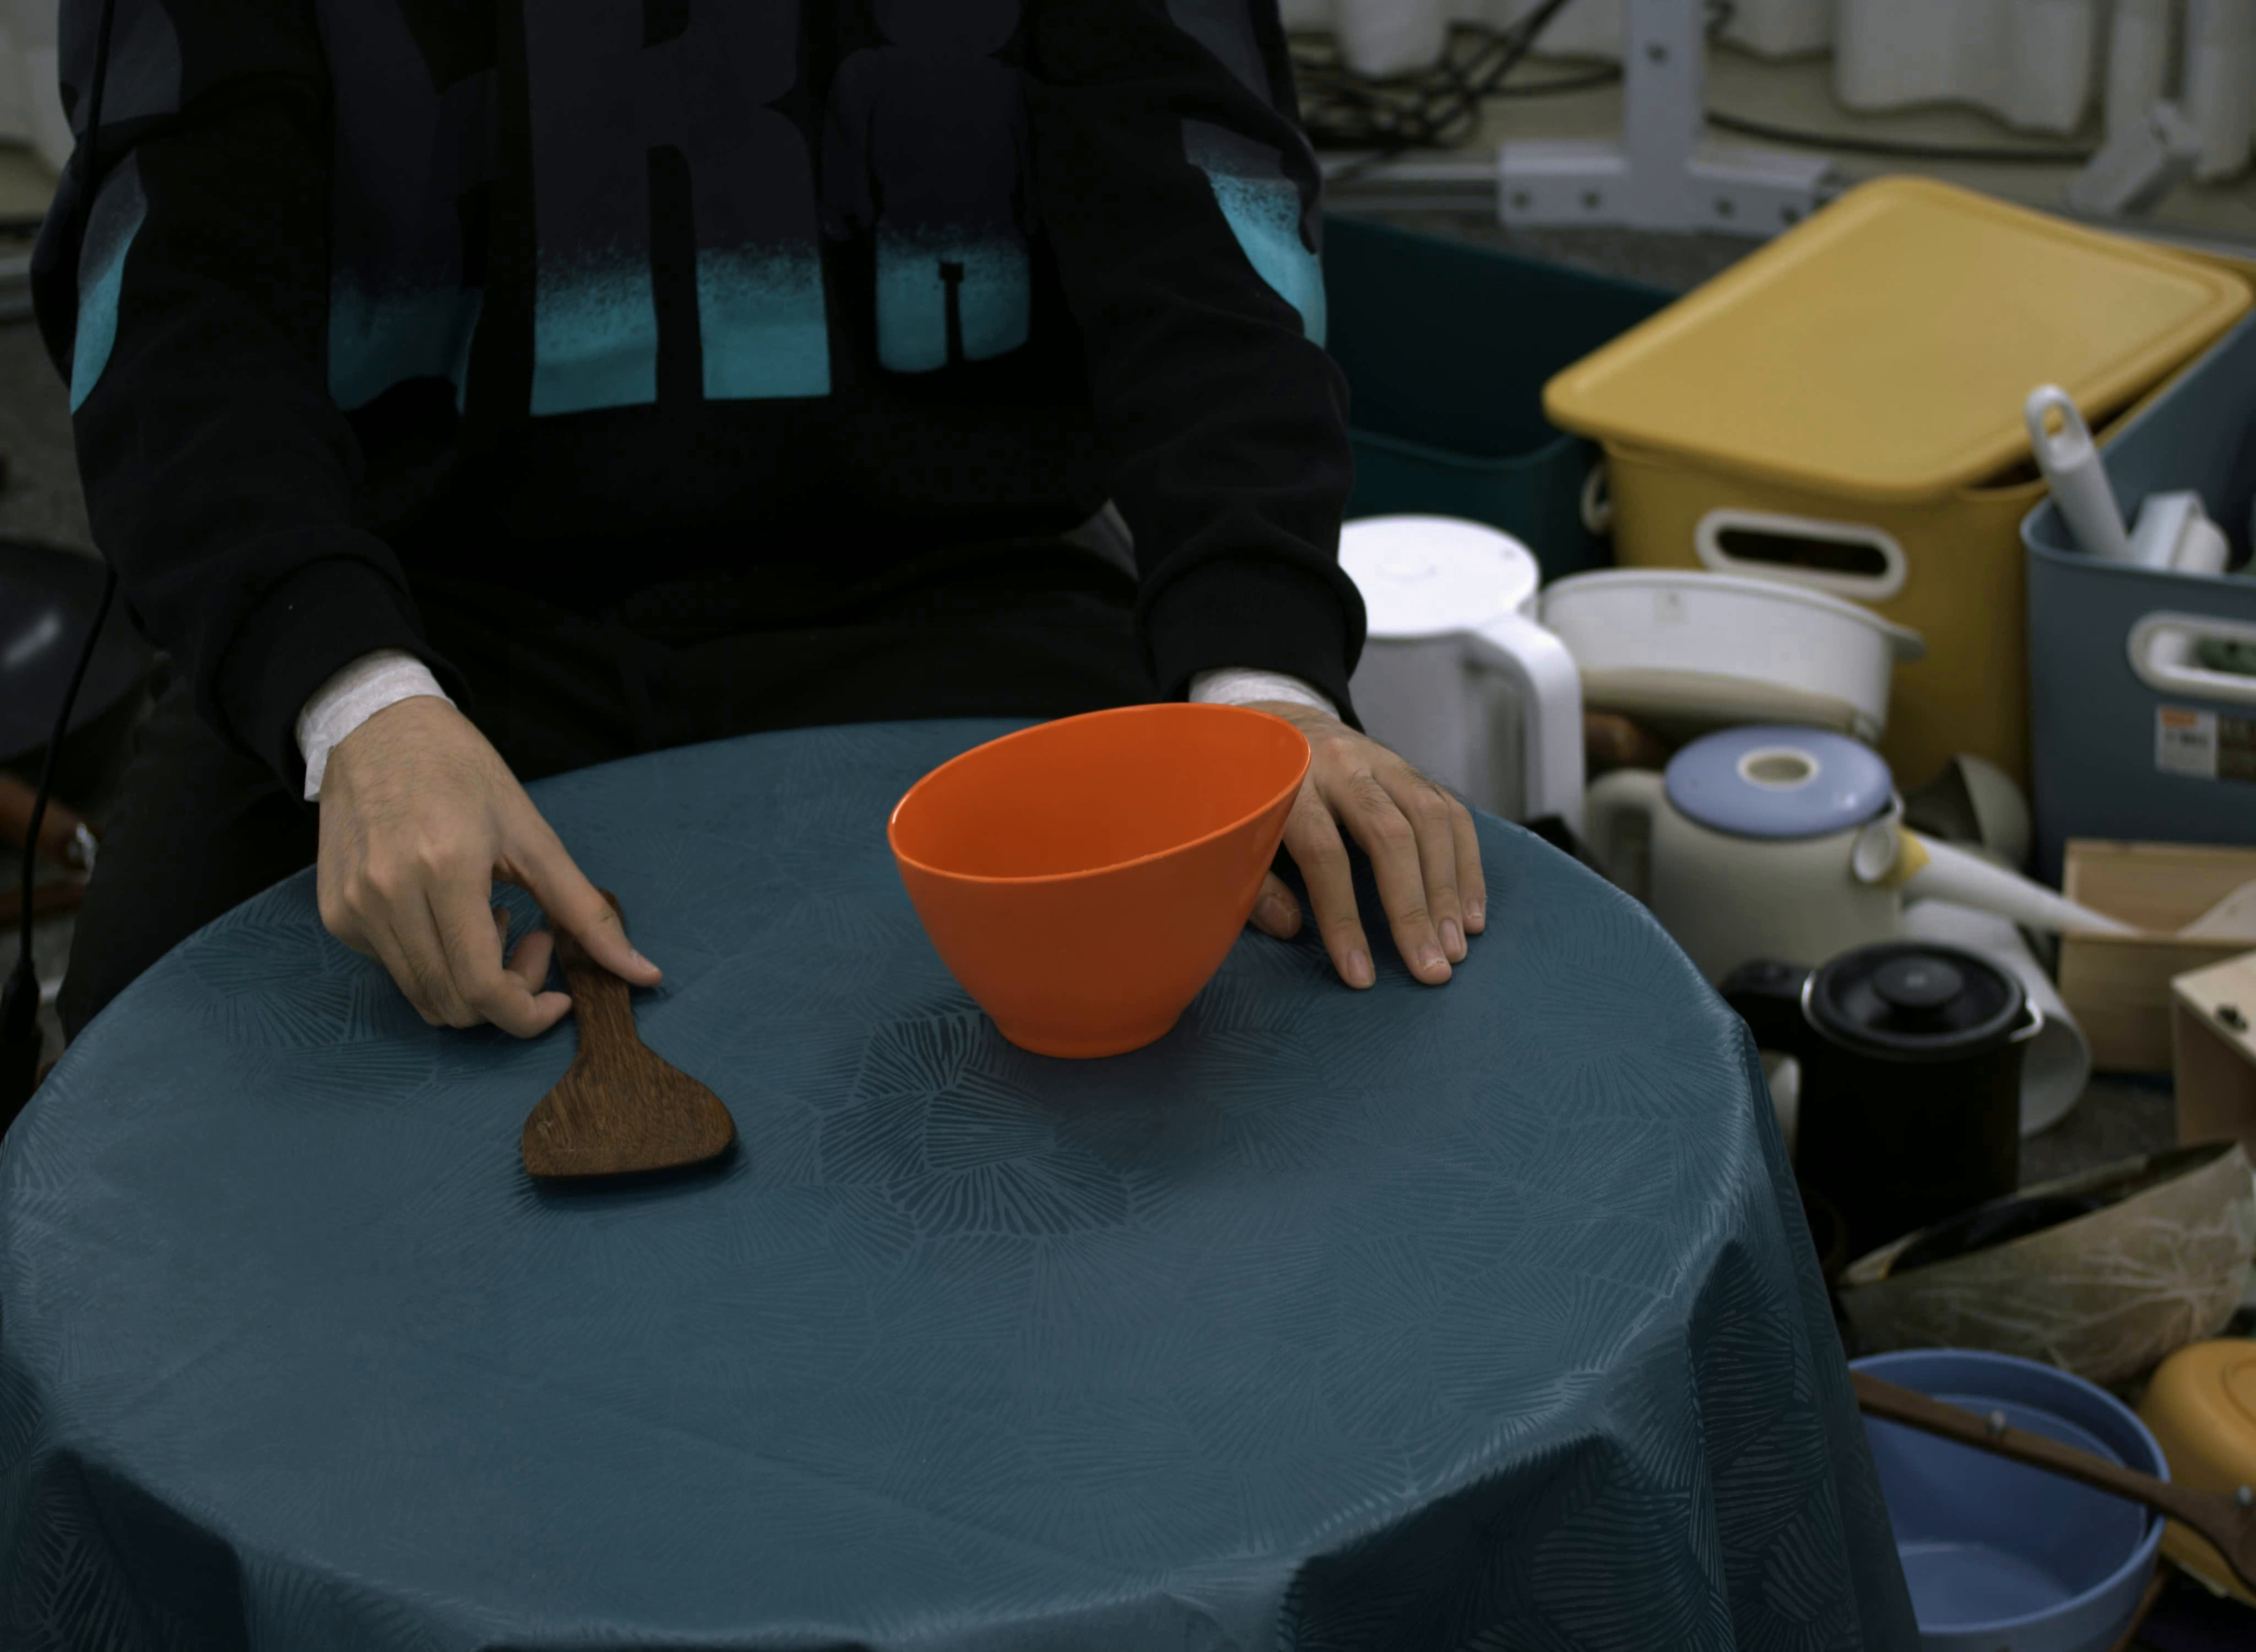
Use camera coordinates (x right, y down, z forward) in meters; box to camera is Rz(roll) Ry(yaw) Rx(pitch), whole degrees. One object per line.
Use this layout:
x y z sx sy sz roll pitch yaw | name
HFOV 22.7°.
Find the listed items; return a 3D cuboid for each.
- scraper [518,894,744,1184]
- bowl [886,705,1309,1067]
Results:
-0.181 0.074 1.964 0.075 0.011 0.214 -5 27 -8 | scraper
-0.008 0.025 1.941 0.147 0.103 0.150 -4 27 3 | bowl
